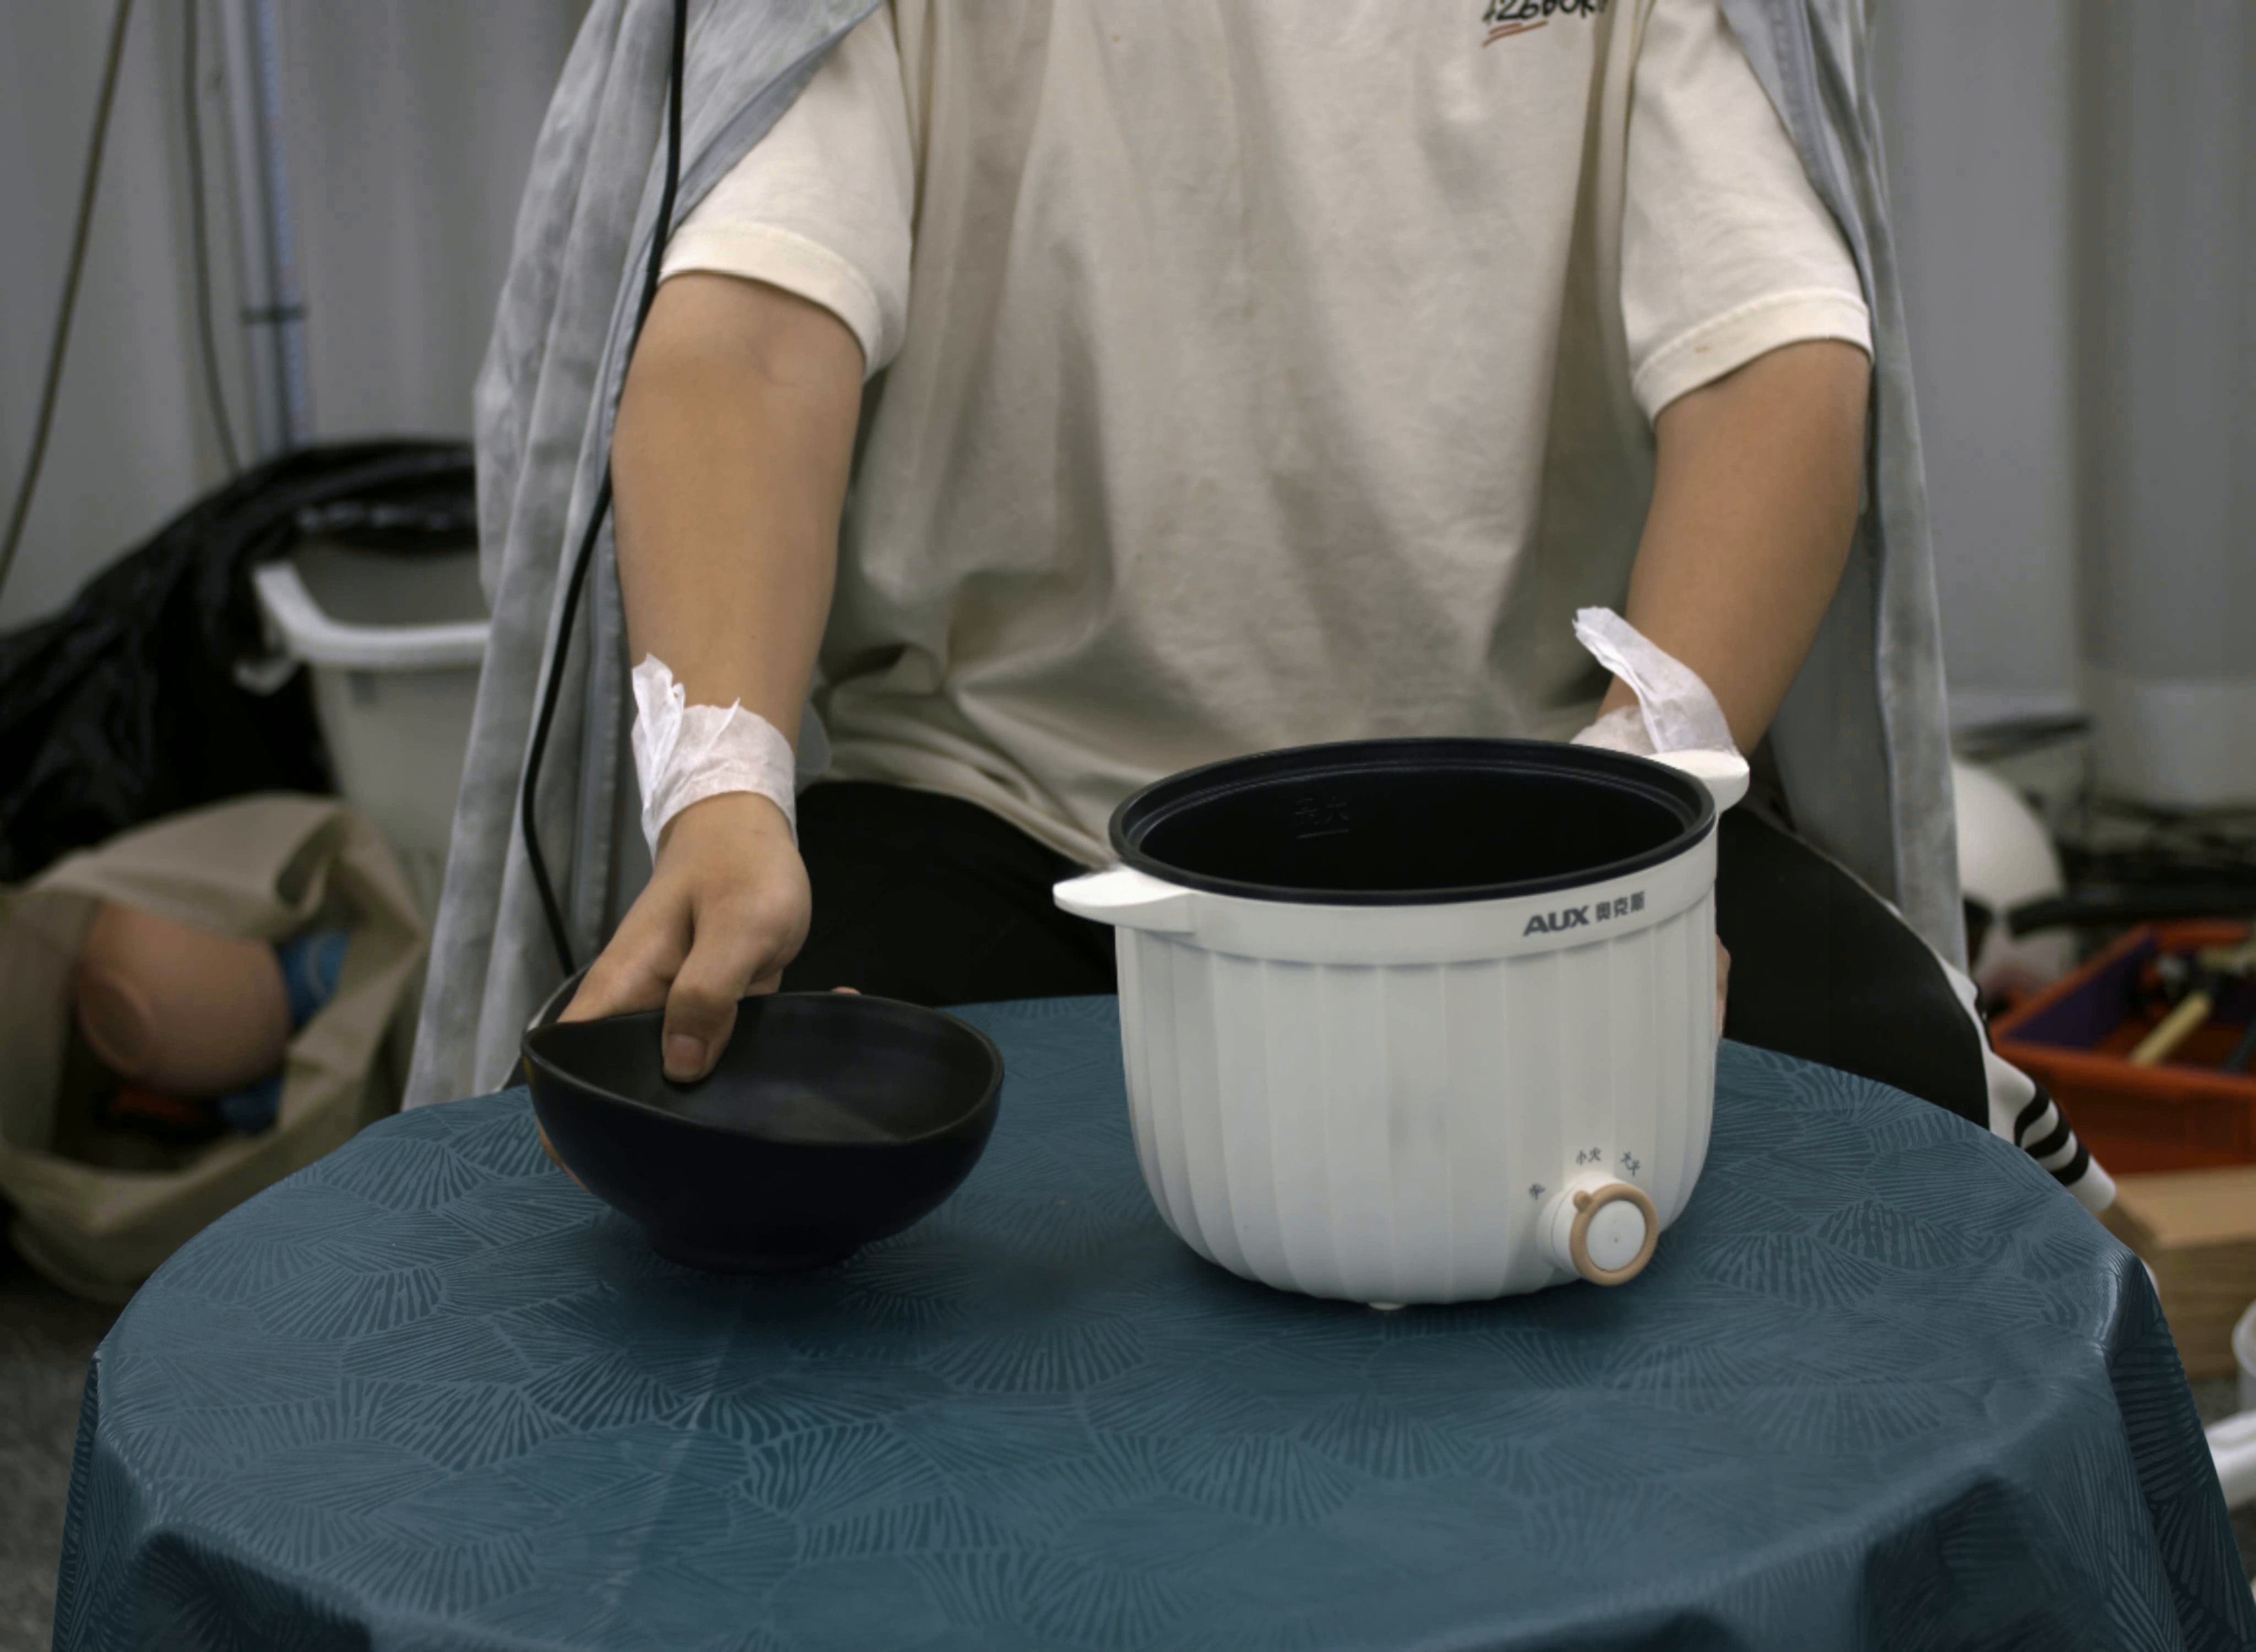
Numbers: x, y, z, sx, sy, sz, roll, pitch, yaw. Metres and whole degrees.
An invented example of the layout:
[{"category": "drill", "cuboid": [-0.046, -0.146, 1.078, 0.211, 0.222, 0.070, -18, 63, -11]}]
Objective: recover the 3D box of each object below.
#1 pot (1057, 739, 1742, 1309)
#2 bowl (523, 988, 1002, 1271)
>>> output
[{"category": "pot", "cuboid": [0.091, 0.061, 1.639, 0.239, 0.142, 0.191, -12, 14, -29]}, {"category": "bowl", "cuboid": [-0.112, 0.094, 1.652, 0.137, 0.066, 0.171, -8, 16, -33]}]
